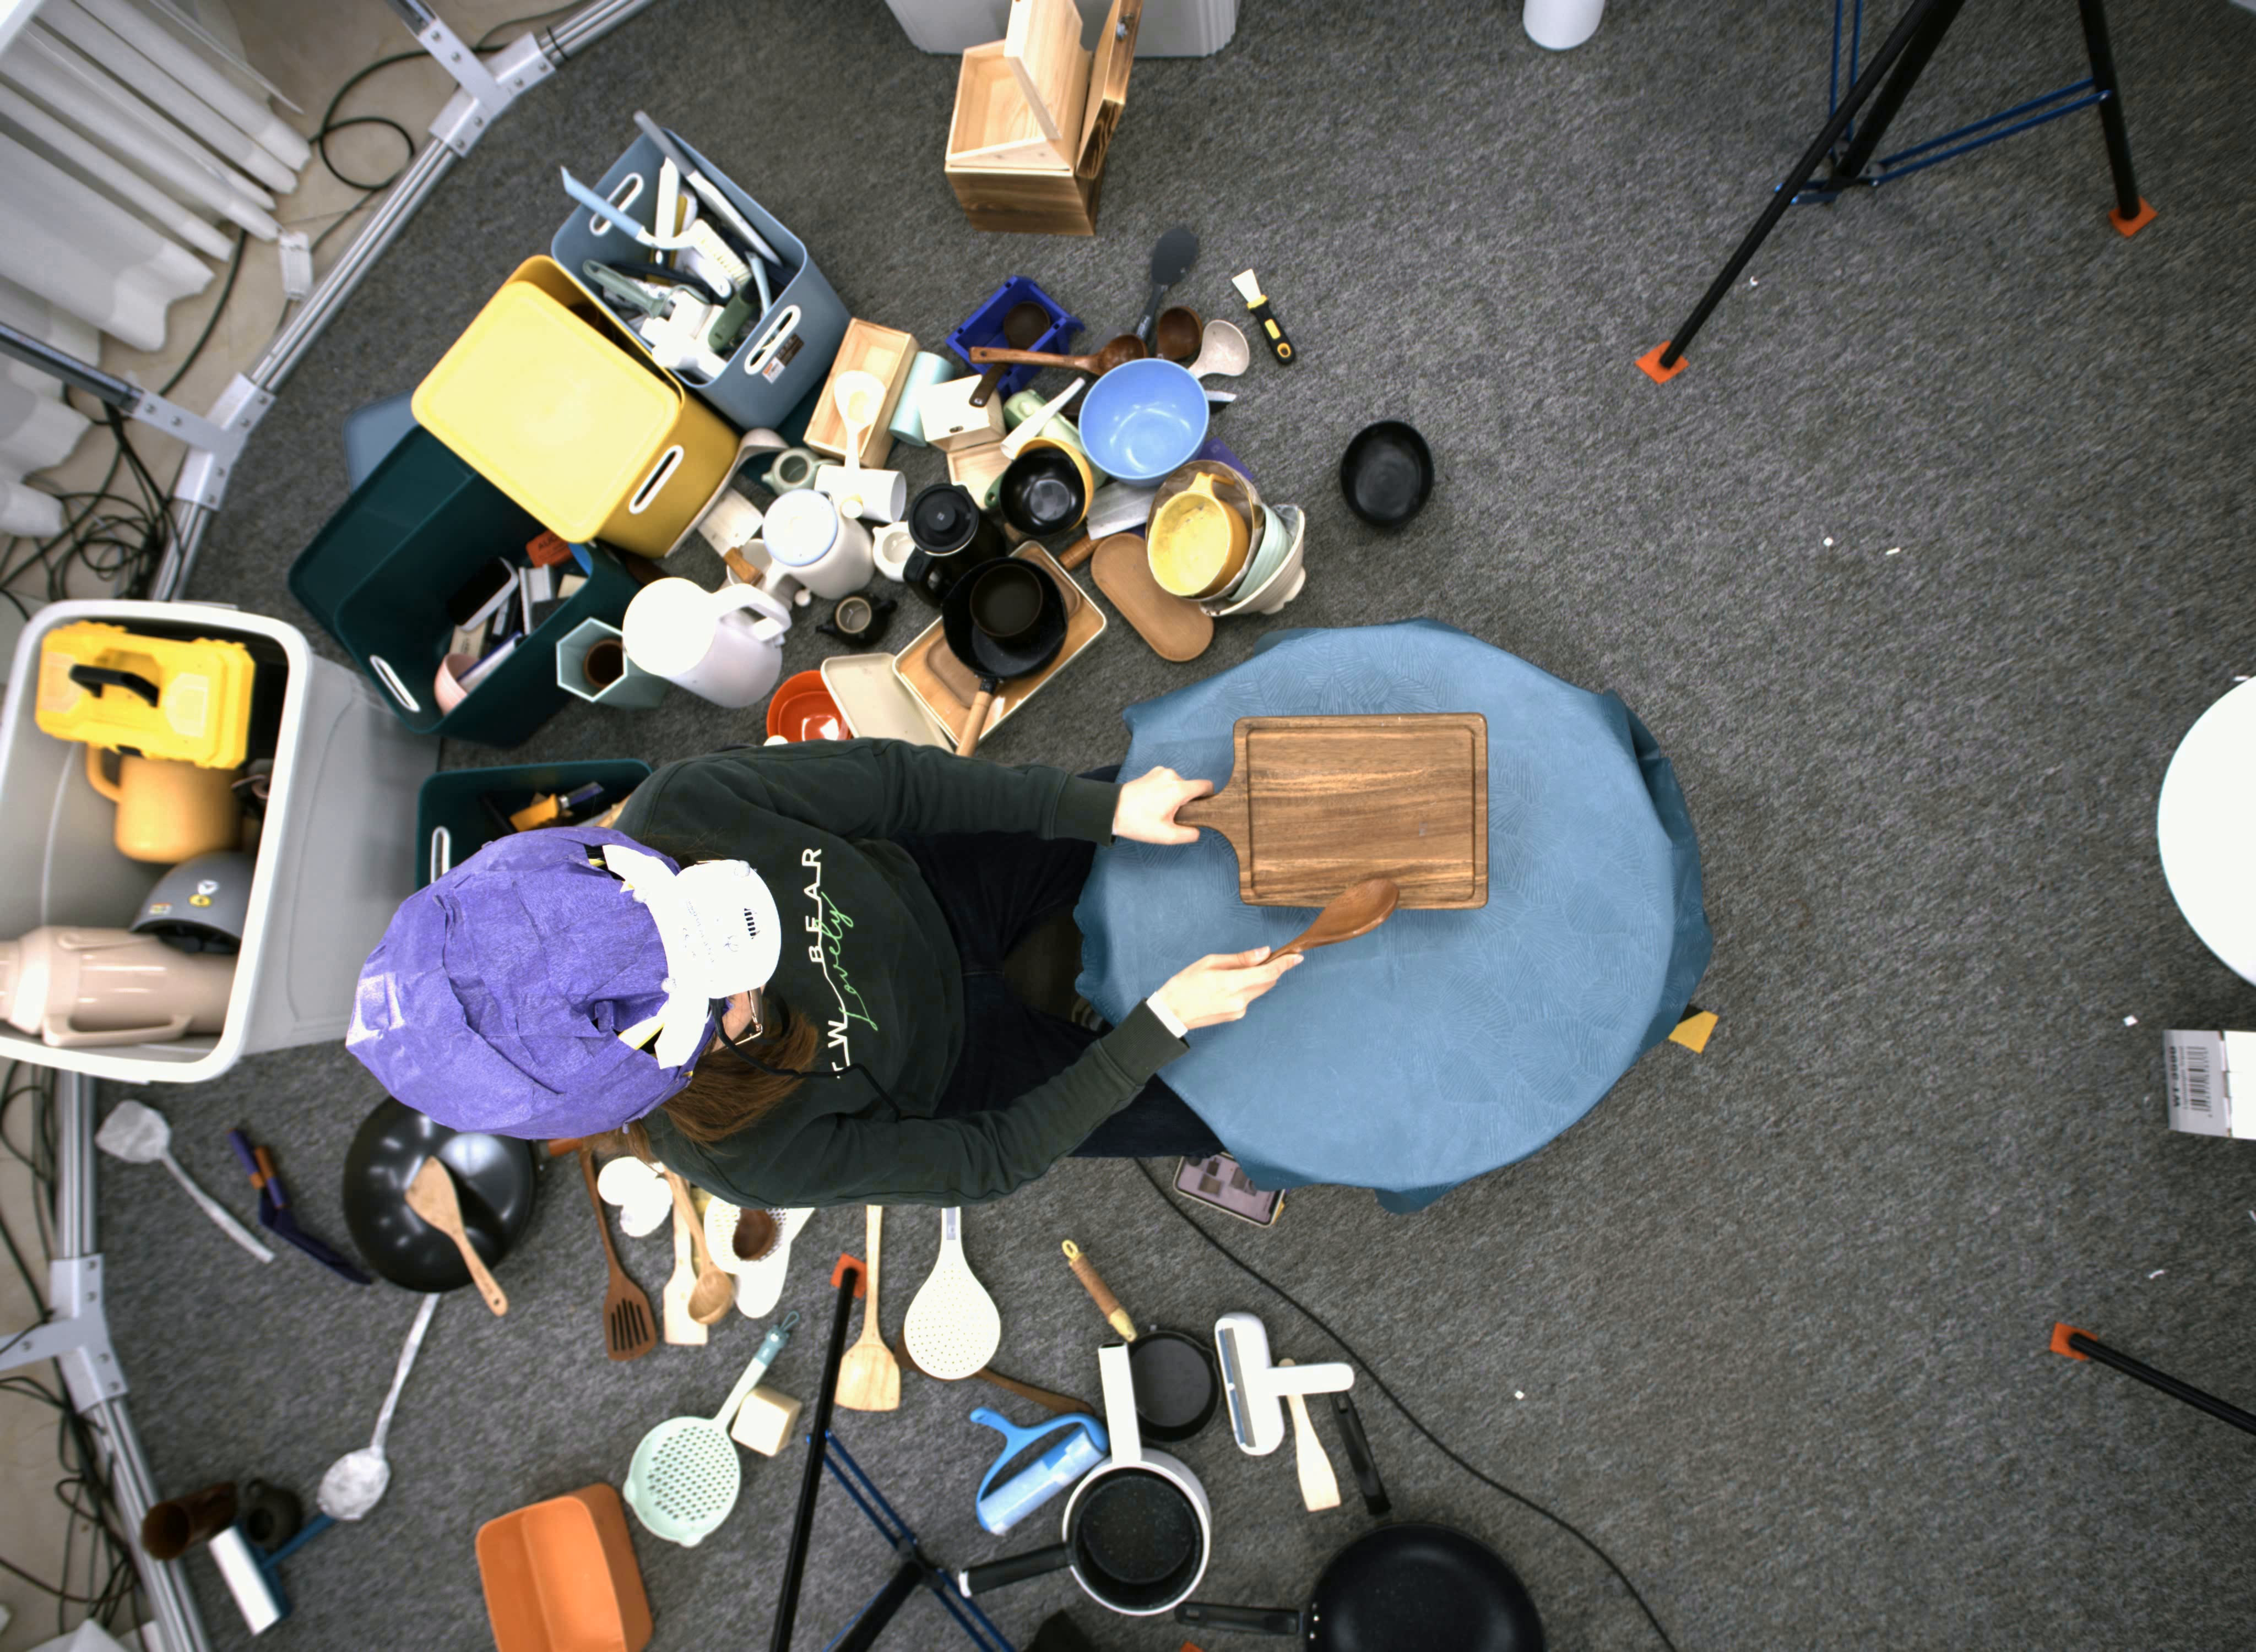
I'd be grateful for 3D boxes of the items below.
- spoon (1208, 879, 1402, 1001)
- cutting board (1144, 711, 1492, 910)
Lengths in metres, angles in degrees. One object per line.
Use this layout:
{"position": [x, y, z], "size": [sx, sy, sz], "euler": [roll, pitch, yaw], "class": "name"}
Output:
{"position": [0.174, 0.115, 1.360], "size": [0.218, 0.074, 0.017], "euler": [-30, 120, 12], "class": "spoon"}
{"position": [0.188, -0.014, 1.400], "size": [0.354, 0.023, 0.203], "euler": [0, 105, 16], "class": "cutting board"}
